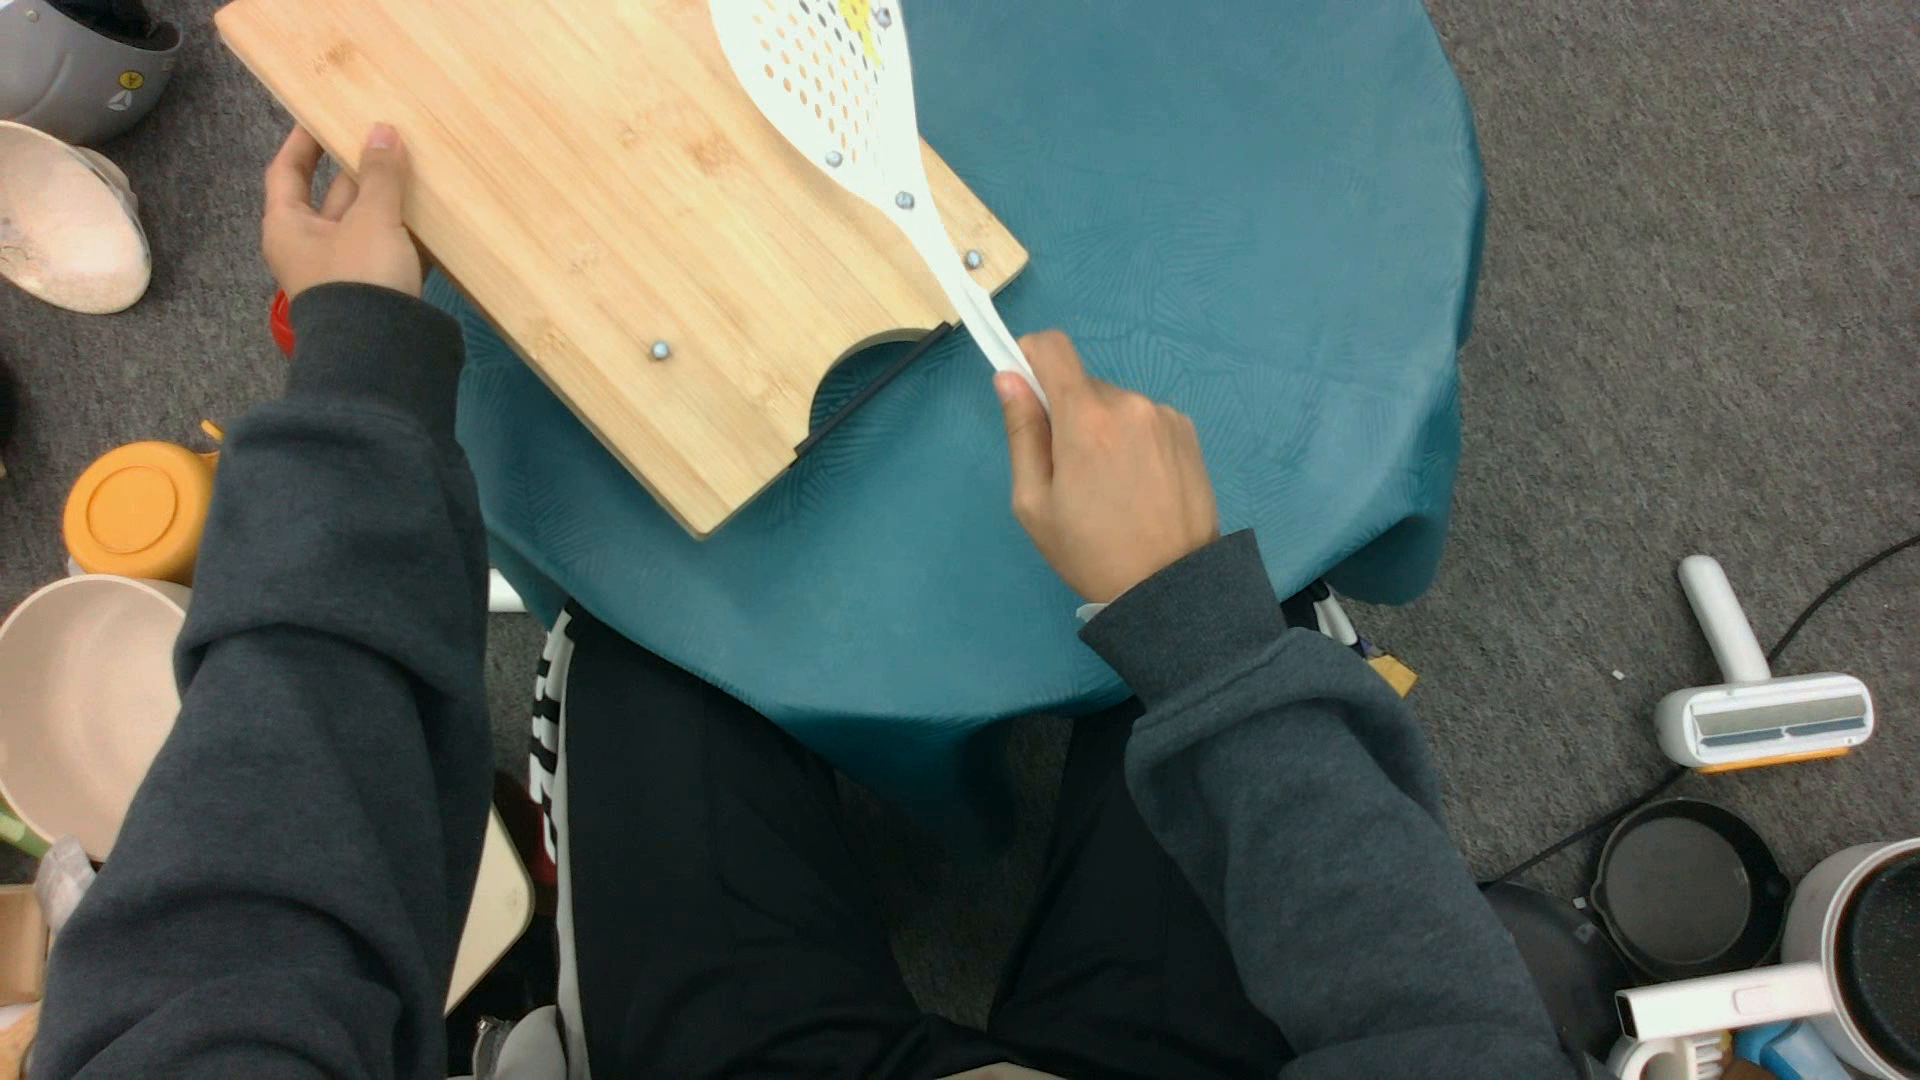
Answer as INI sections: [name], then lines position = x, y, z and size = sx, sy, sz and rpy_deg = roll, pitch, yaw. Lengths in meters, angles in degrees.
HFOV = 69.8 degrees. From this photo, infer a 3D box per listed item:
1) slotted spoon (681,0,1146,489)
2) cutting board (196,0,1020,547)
[slotted spoon]
position = -0.024, -0.163, 0.630
size = 0.050, 0.136, 0.348
rpy_deg = -23, 79, -33
[cutting board]
position = -0.166, -0.201, 0.706
size = 0.348, 0.023, 0.251
rpy_deg = 46, 68, -1
